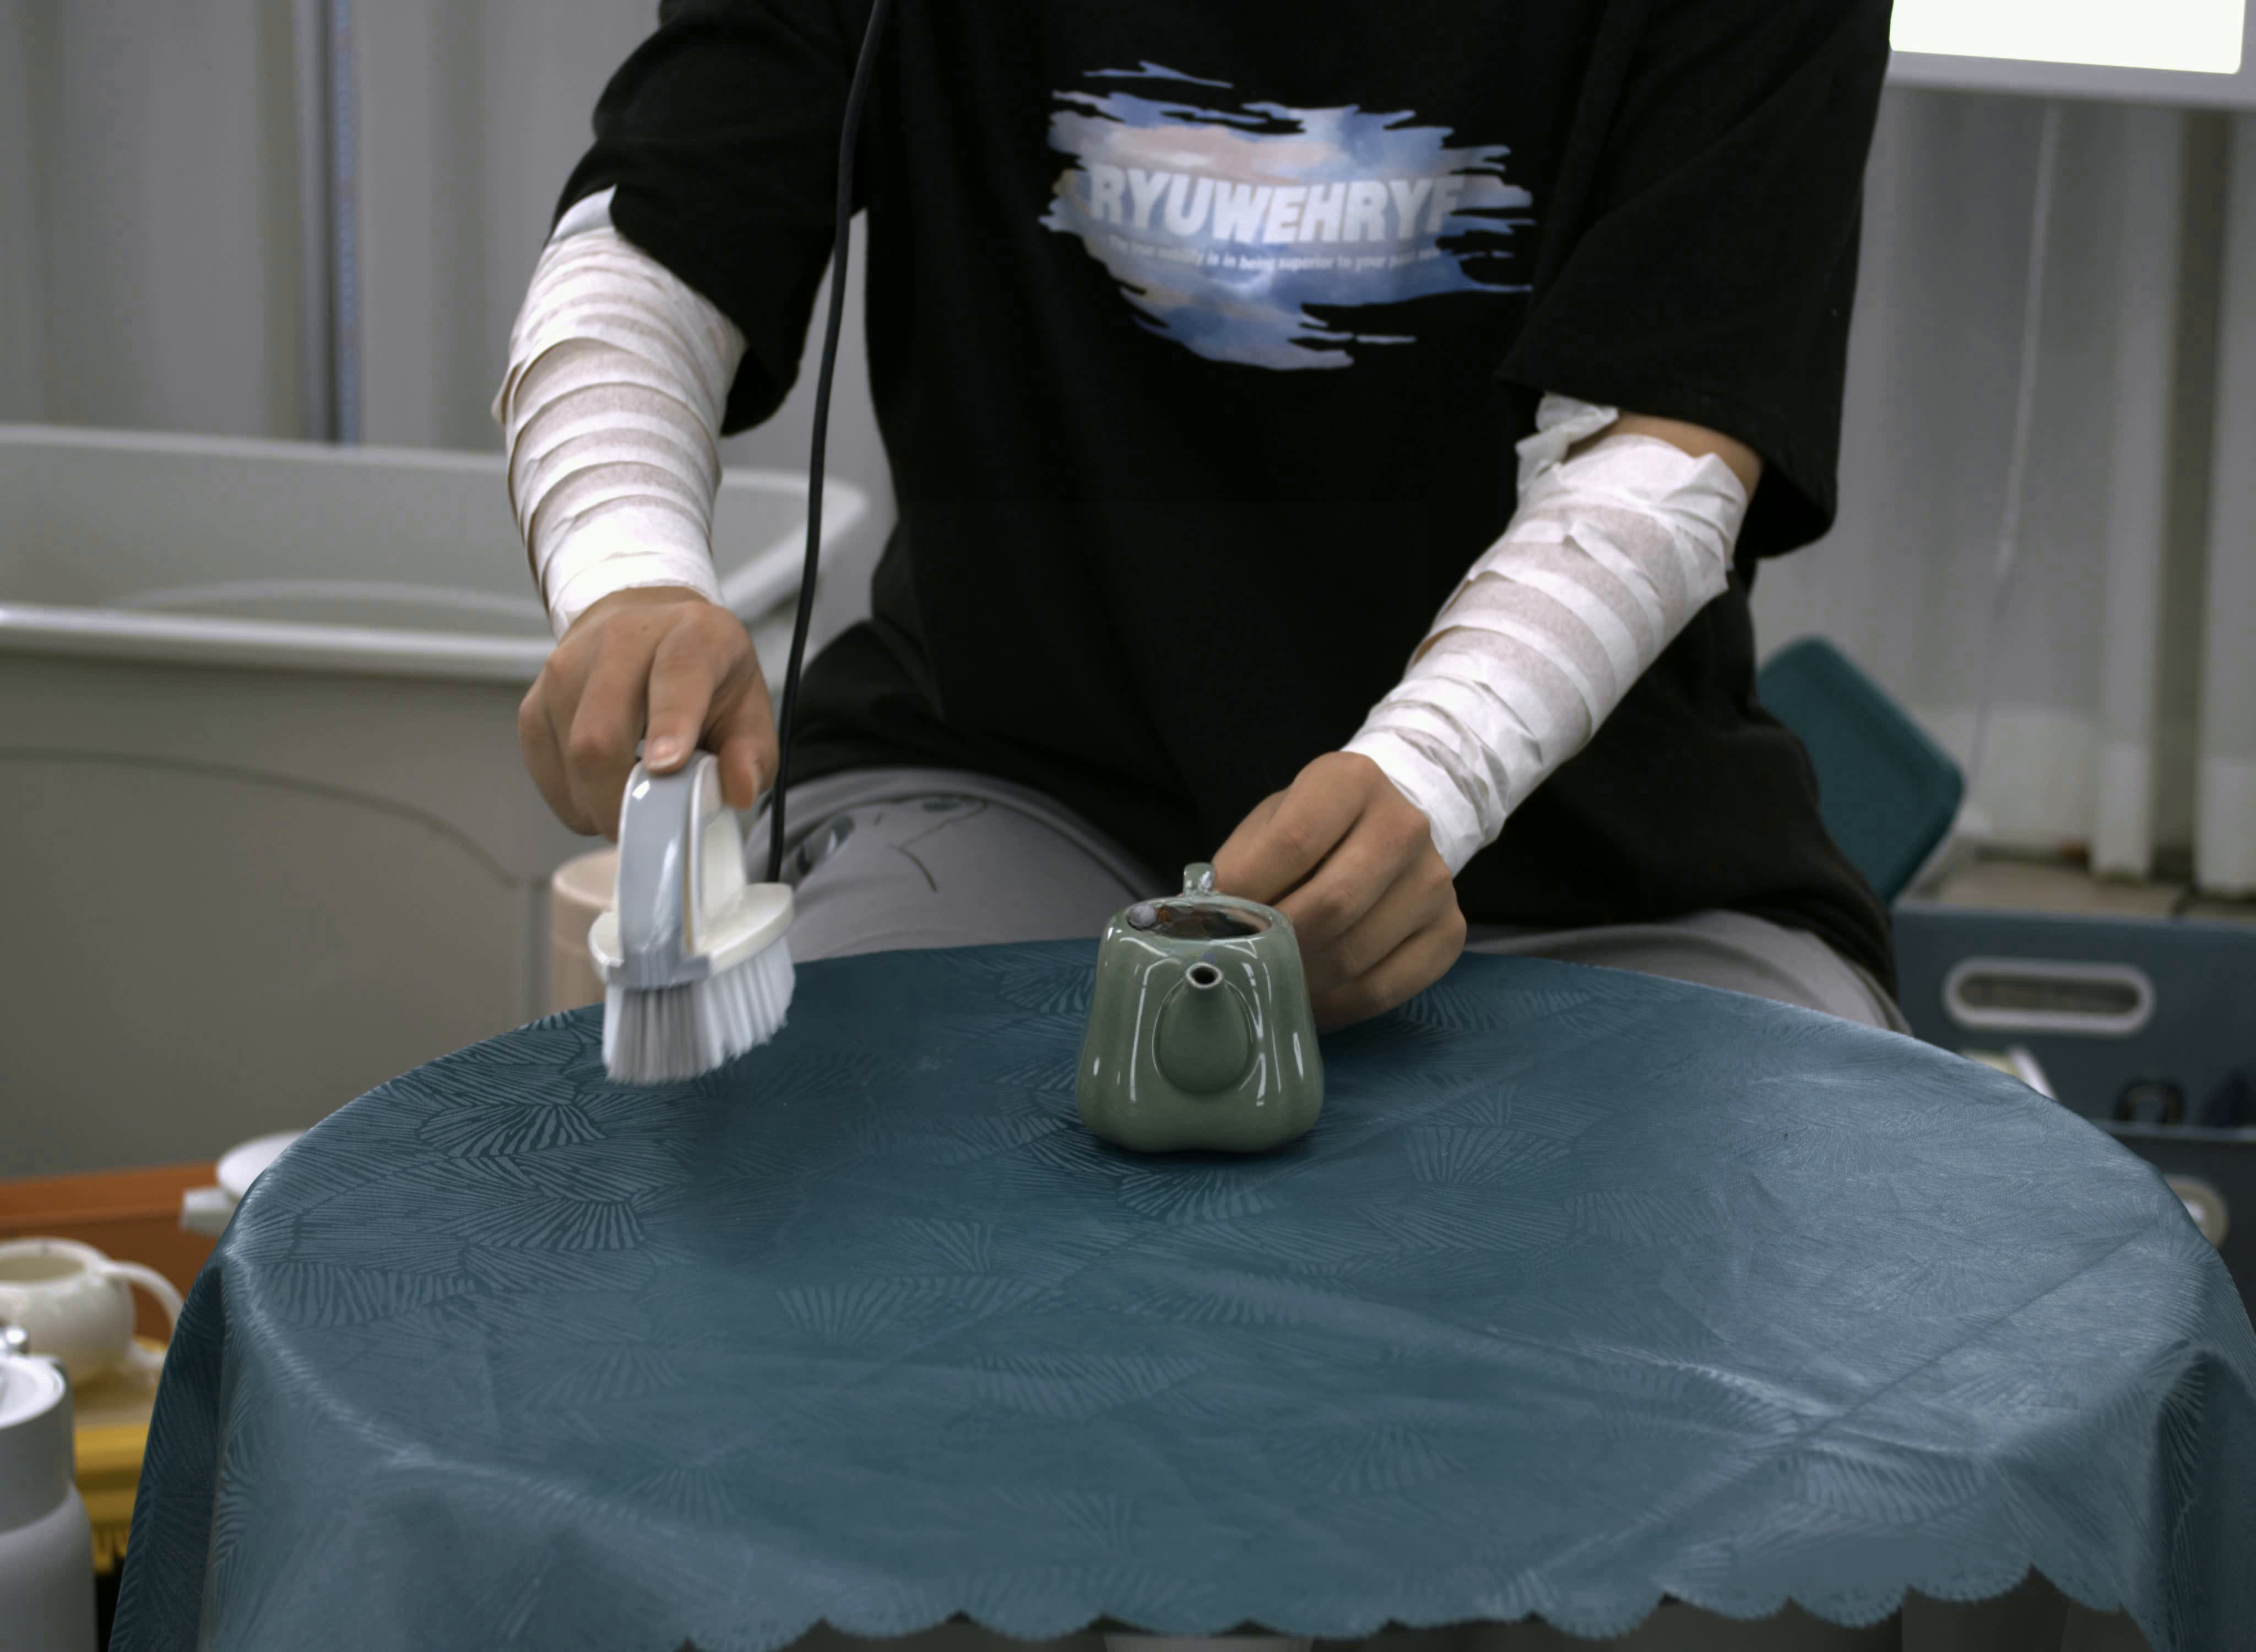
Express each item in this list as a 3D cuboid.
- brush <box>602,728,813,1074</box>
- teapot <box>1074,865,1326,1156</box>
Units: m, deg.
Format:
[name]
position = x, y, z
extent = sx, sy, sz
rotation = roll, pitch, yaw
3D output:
[brush]
position = -0.137, 0.020, 1.639
extent = 0.061, 0.095, 0.175
rotation = -8, 10, 3
[teapot]
position = 0.024, 0.061, 1.675
extent = 0.079, 0.076, 0.132
rotation = 3, 14, 3
